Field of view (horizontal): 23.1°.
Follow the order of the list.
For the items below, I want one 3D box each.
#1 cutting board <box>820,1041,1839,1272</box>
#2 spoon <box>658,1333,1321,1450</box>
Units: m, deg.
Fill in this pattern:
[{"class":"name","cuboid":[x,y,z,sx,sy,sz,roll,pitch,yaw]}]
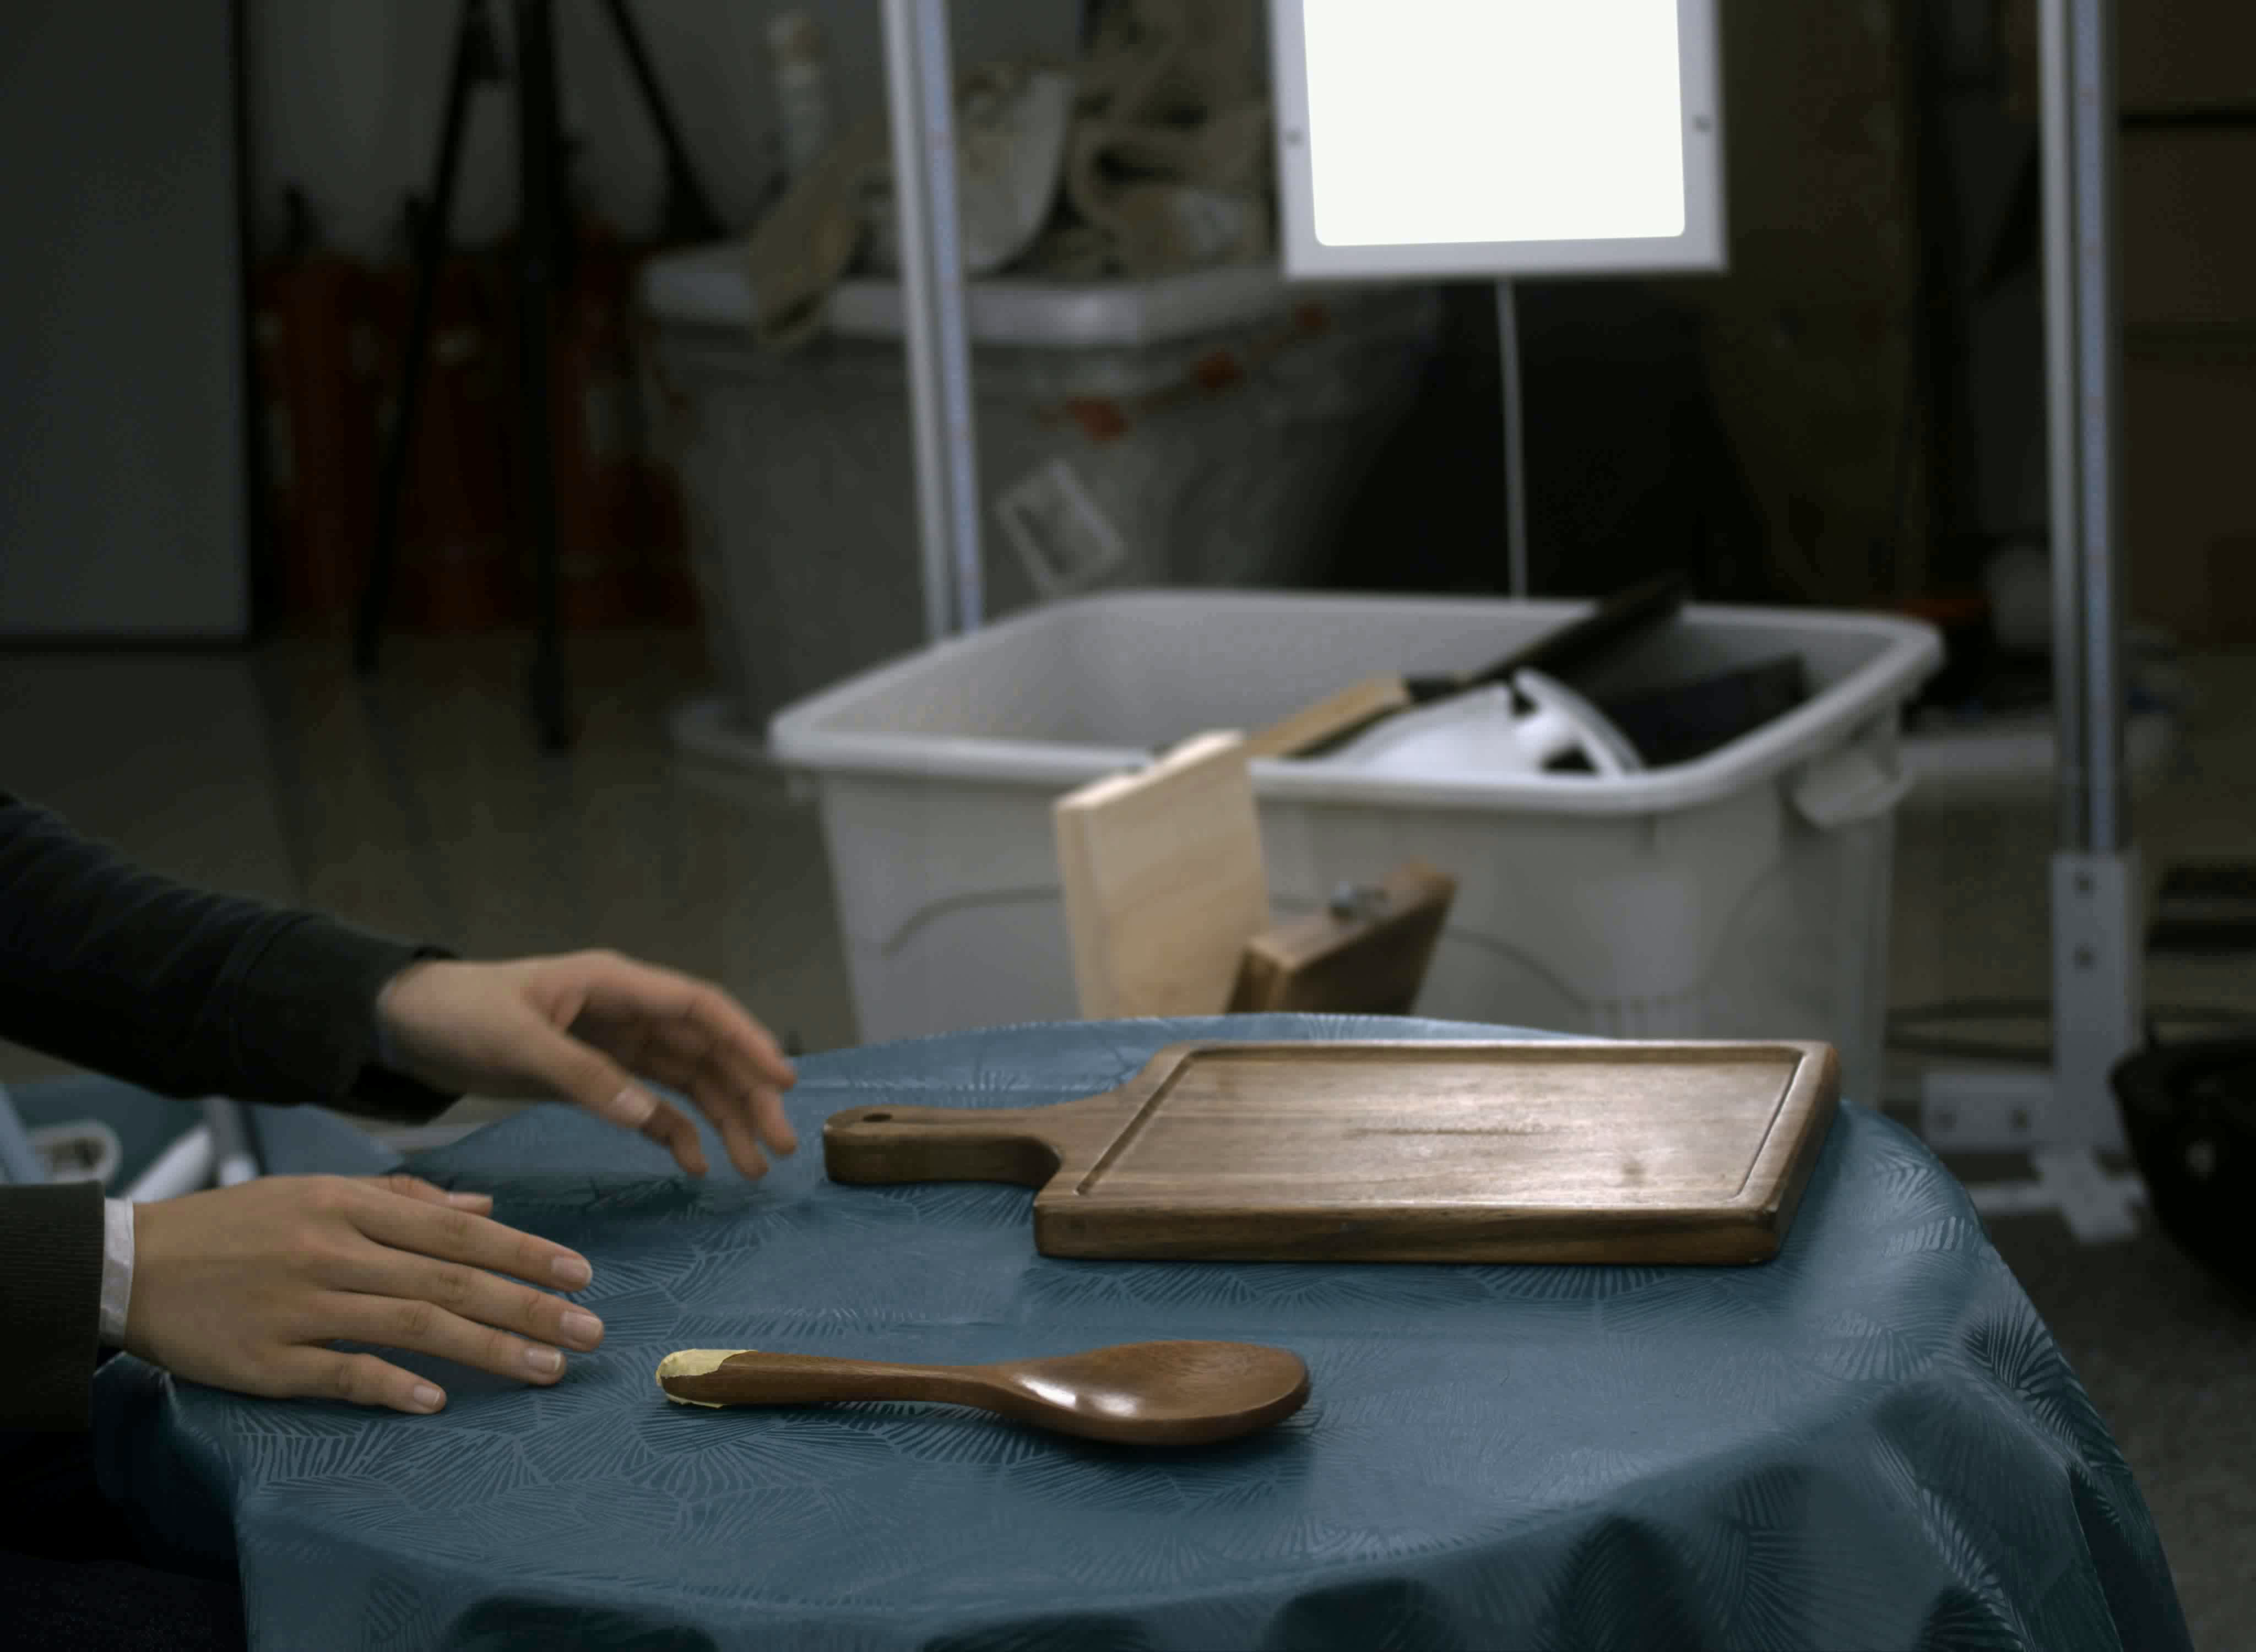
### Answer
[{"class":"cutting board","cuboid":[0.063,0.111,1.899,0.356,0.023,0.198,-1,15,17]},{"class":"spoon","cuboid":[-0.044,0.172,1.691,0.219,0.017,0.074,2,17,22]}]
